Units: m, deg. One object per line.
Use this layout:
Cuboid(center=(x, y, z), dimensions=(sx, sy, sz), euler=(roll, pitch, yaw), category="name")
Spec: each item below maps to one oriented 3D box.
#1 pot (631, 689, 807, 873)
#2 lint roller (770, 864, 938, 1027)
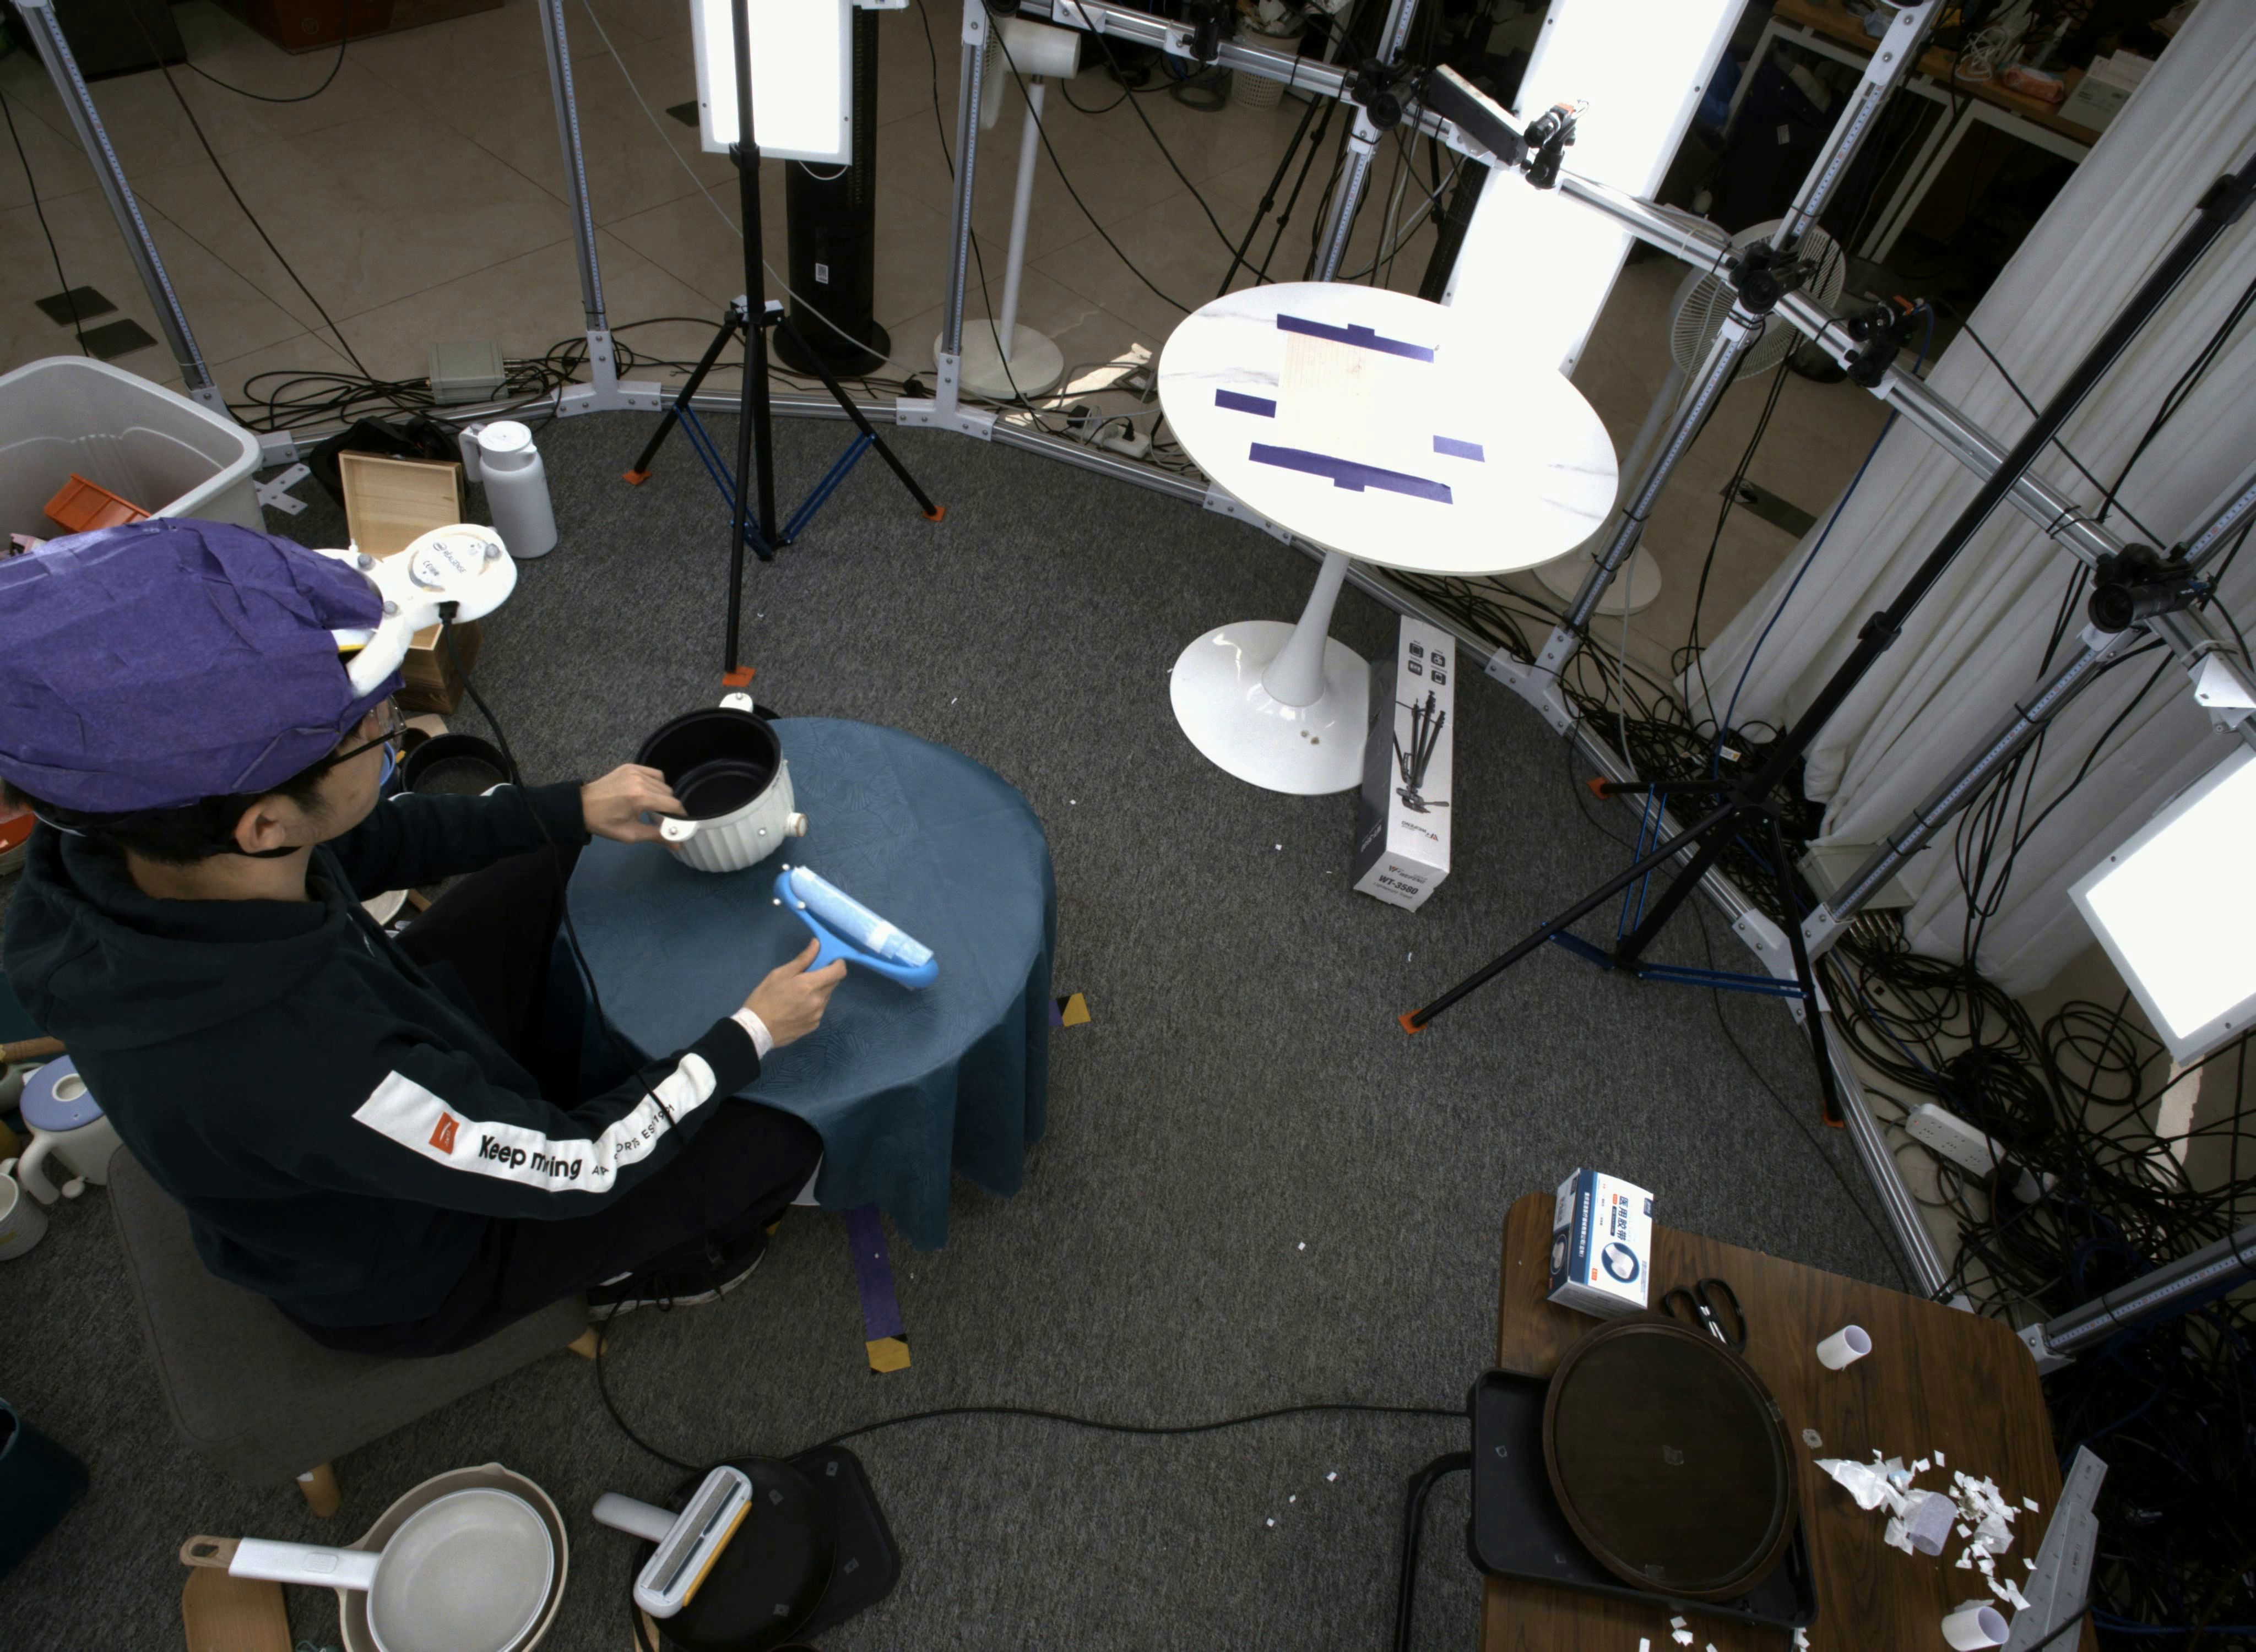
Cuboid(center=(-0.508, -0.041, 1.618), dimensions=(0.187, 0.147, 0.237), euler=(4, 54, 8), category="pot")
Cuboid(center=(-0.353, 0.155, 1.542), dimensions=(0.229, 0.068, 0.179), euler=(32, 48, -5), category="lint roller")
